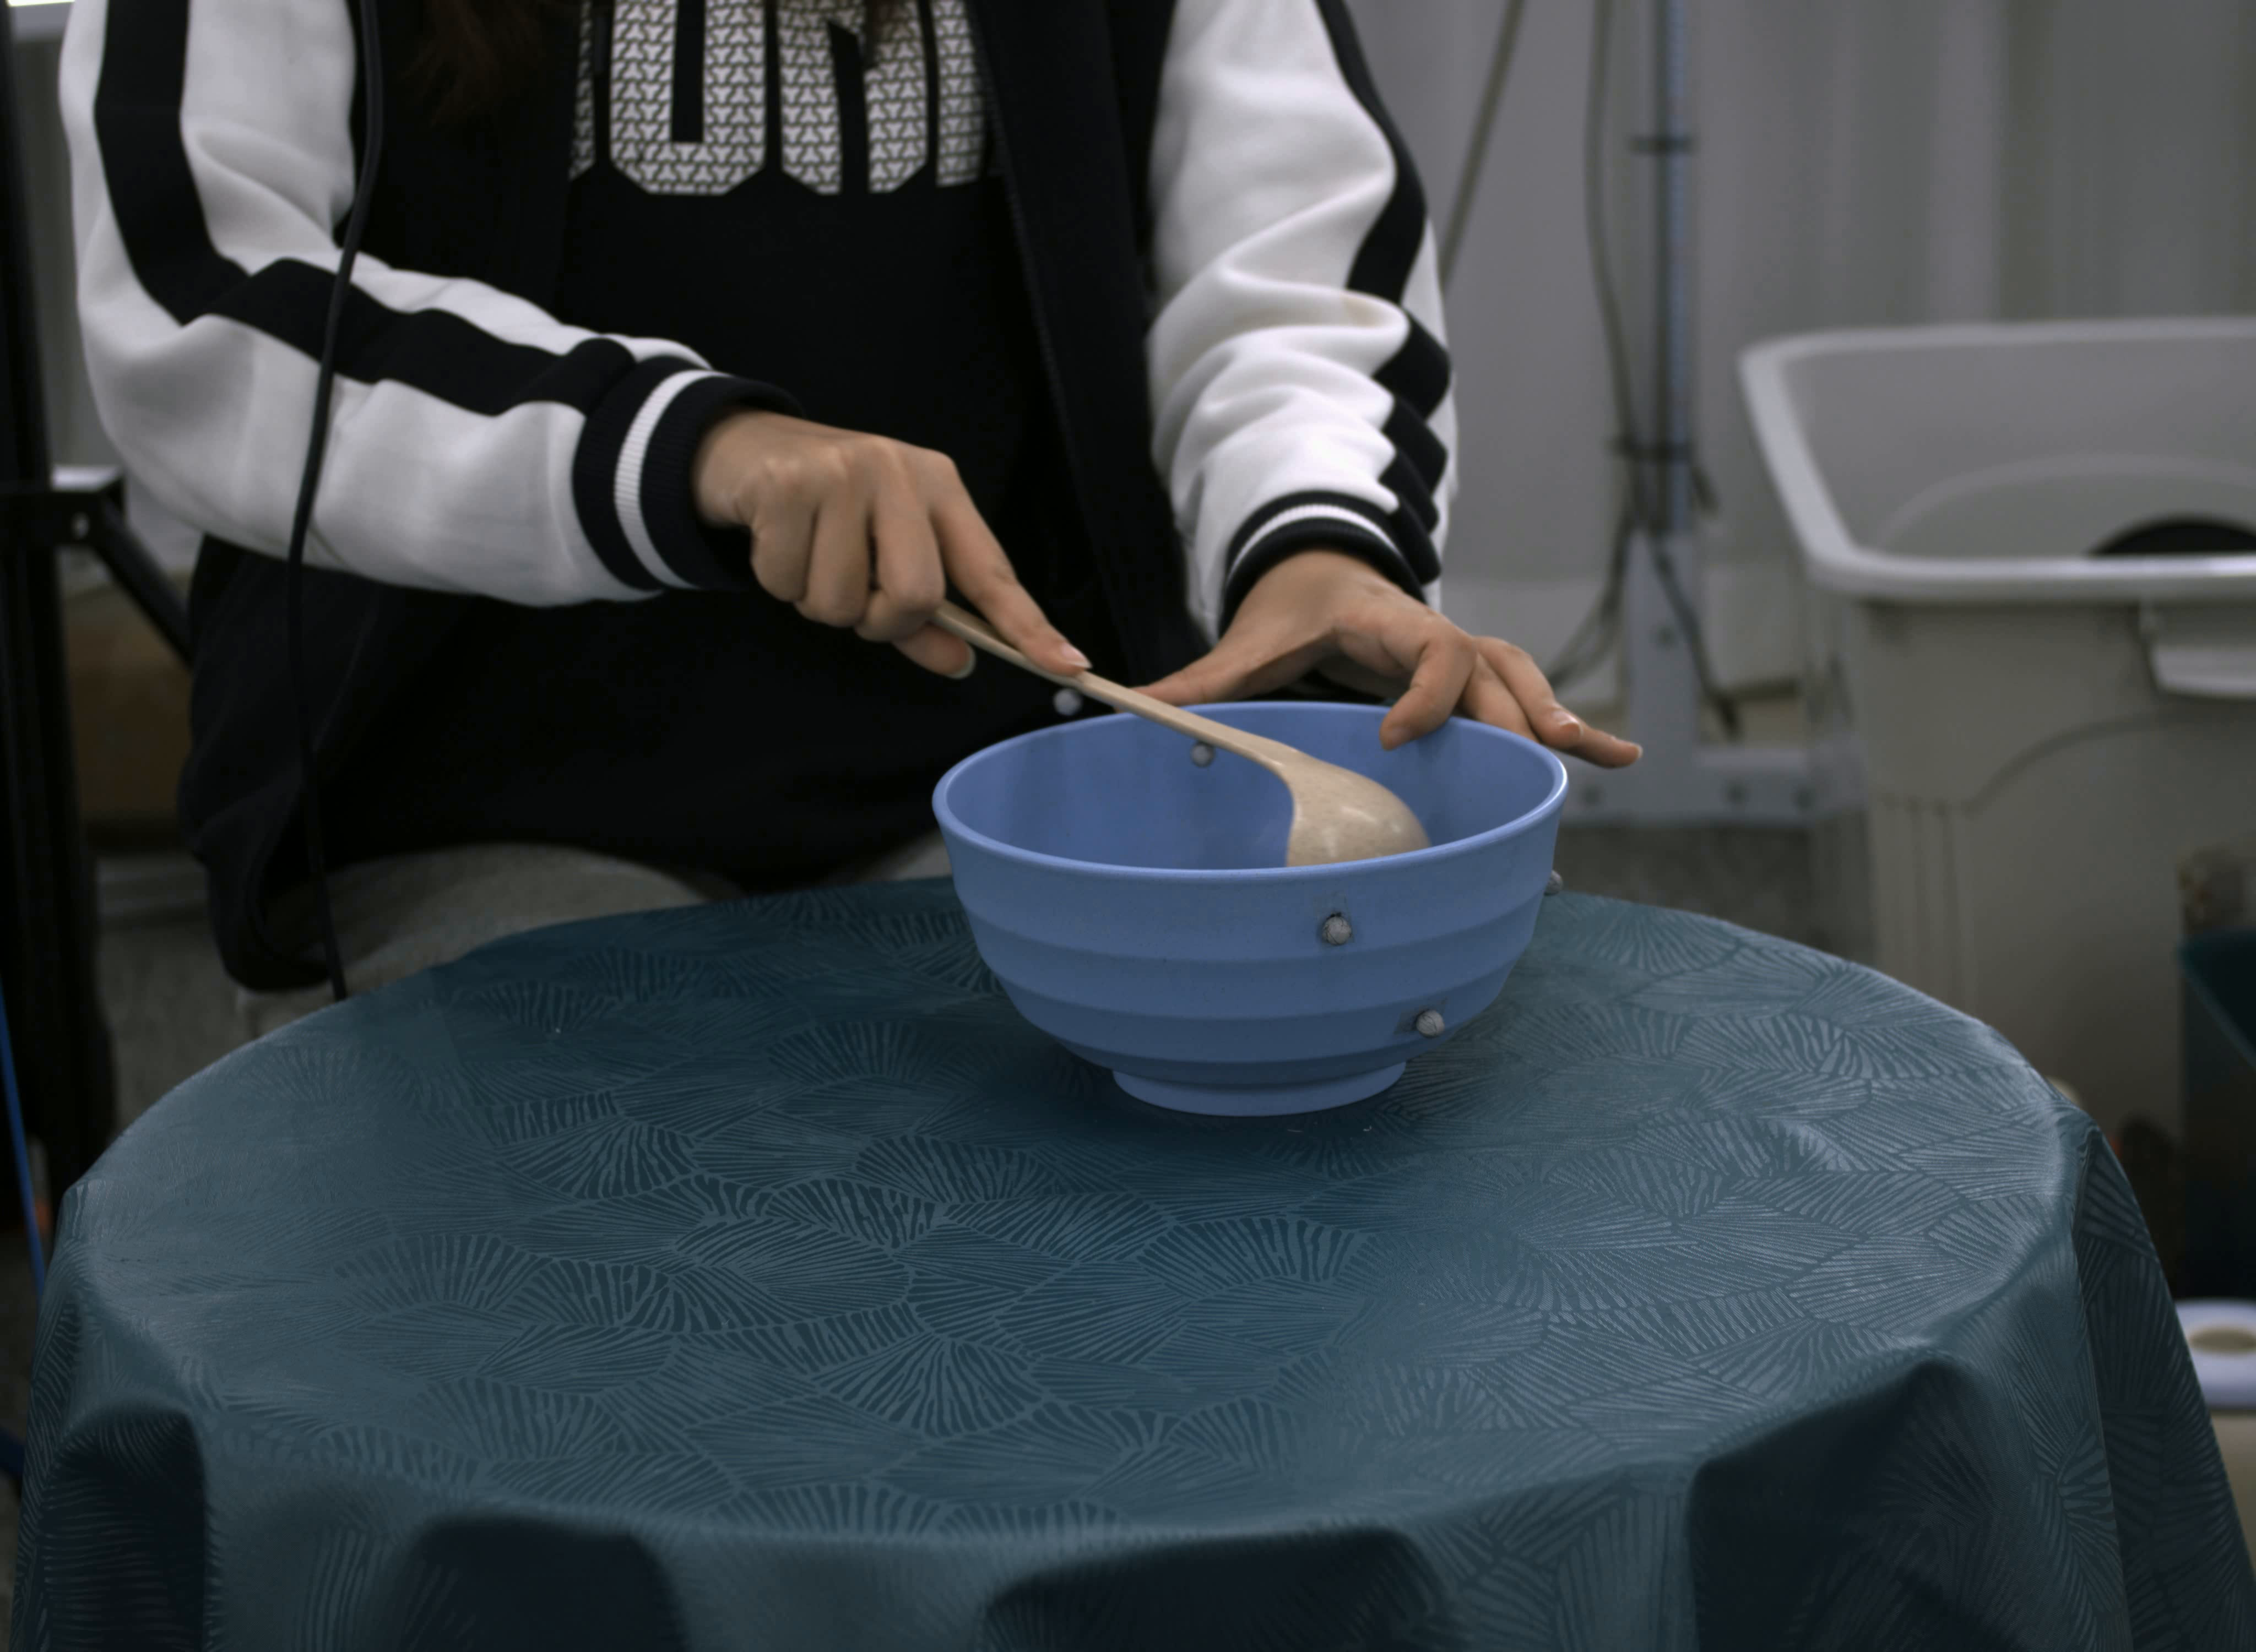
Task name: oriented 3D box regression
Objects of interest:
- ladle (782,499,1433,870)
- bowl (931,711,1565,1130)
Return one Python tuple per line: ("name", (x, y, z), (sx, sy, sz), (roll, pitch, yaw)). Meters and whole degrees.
("ladle", (-0.016, -0.020, 1.706), (0.258, 0.073, 0.071), (27, 22, 21))
("bowl", (0.039, 0.035, 1.649), (0.195, 0.095, 0.197), (-4, 15, 0))
